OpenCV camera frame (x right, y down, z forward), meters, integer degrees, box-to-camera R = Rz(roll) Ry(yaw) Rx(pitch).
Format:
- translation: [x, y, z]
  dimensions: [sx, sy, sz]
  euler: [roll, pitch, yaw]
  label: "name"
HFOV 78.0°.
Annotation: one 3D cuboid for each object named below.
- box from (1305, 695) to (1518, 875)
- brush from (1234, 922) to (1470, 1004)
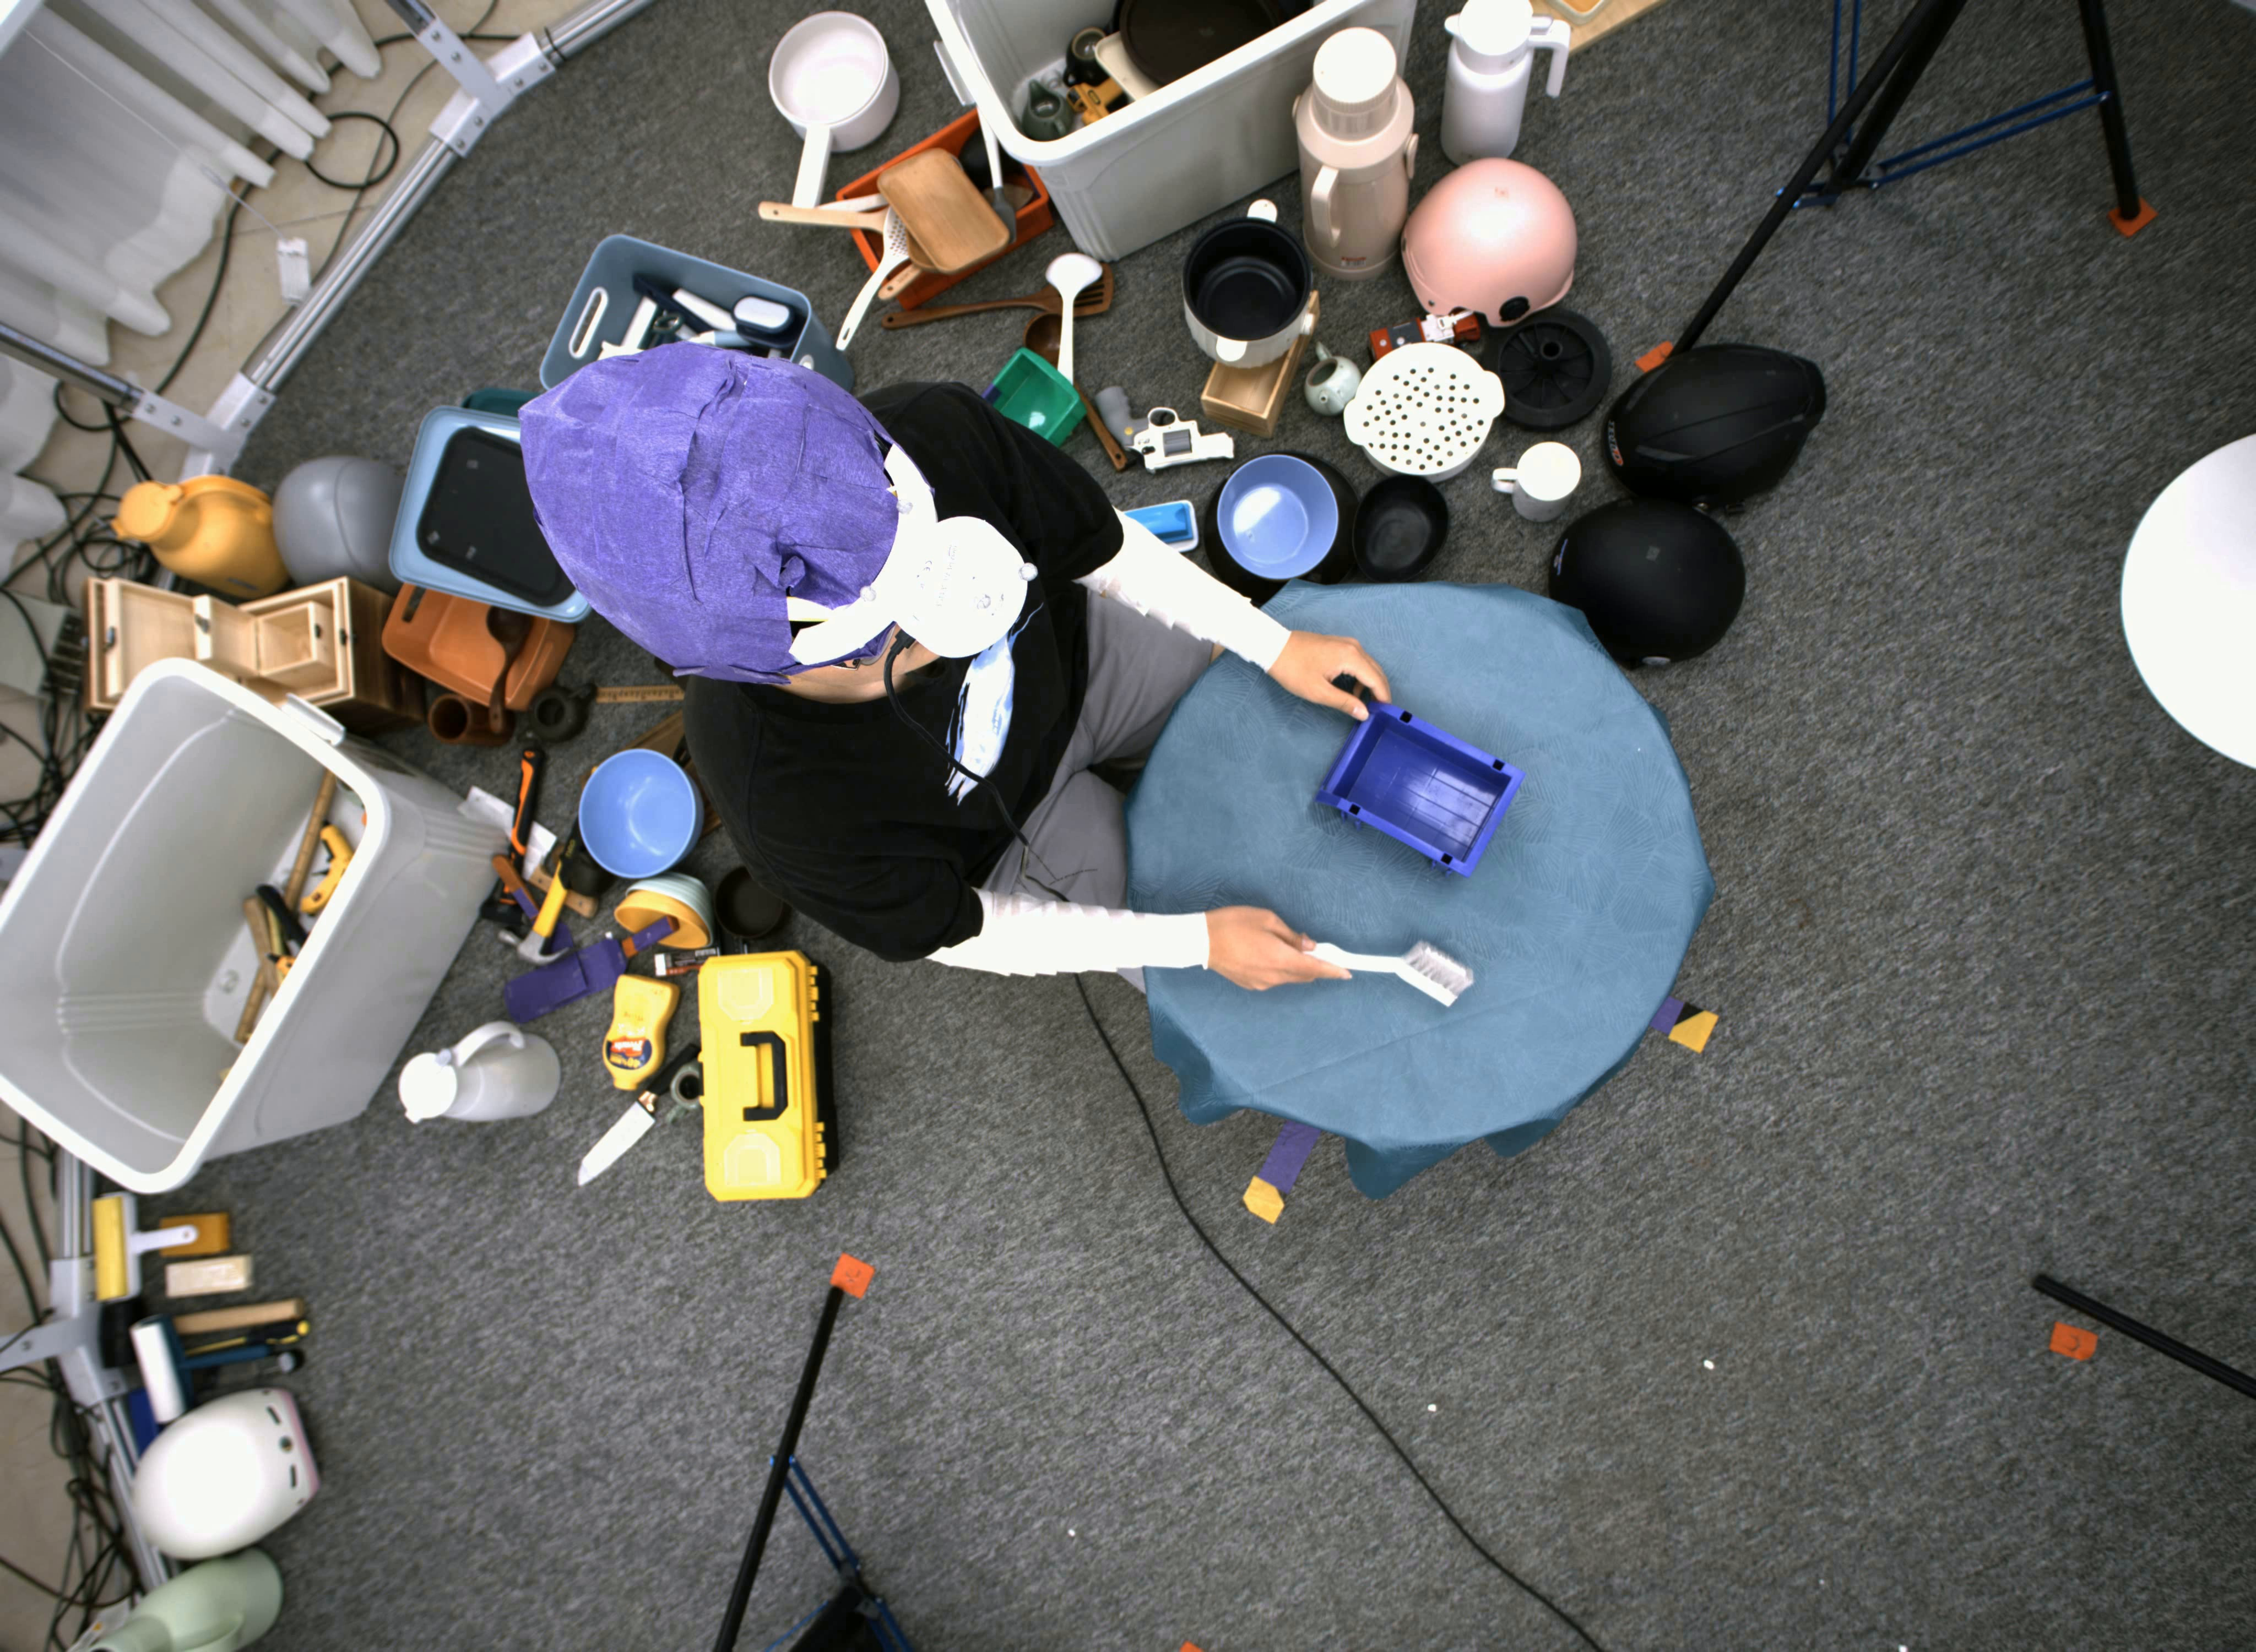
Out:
- translation: [0.288, -0.043, 1.420]
  dimensions: [0.179, 0.082, 0.125]
  euler: [31, 92, 10]
  label: "box"
- translation: [0.229, 0.122, 1.413]
  dimensions: [0.244, 0.033, 0.051]
  euler: [17, 115, 9]
  label: "brush"
